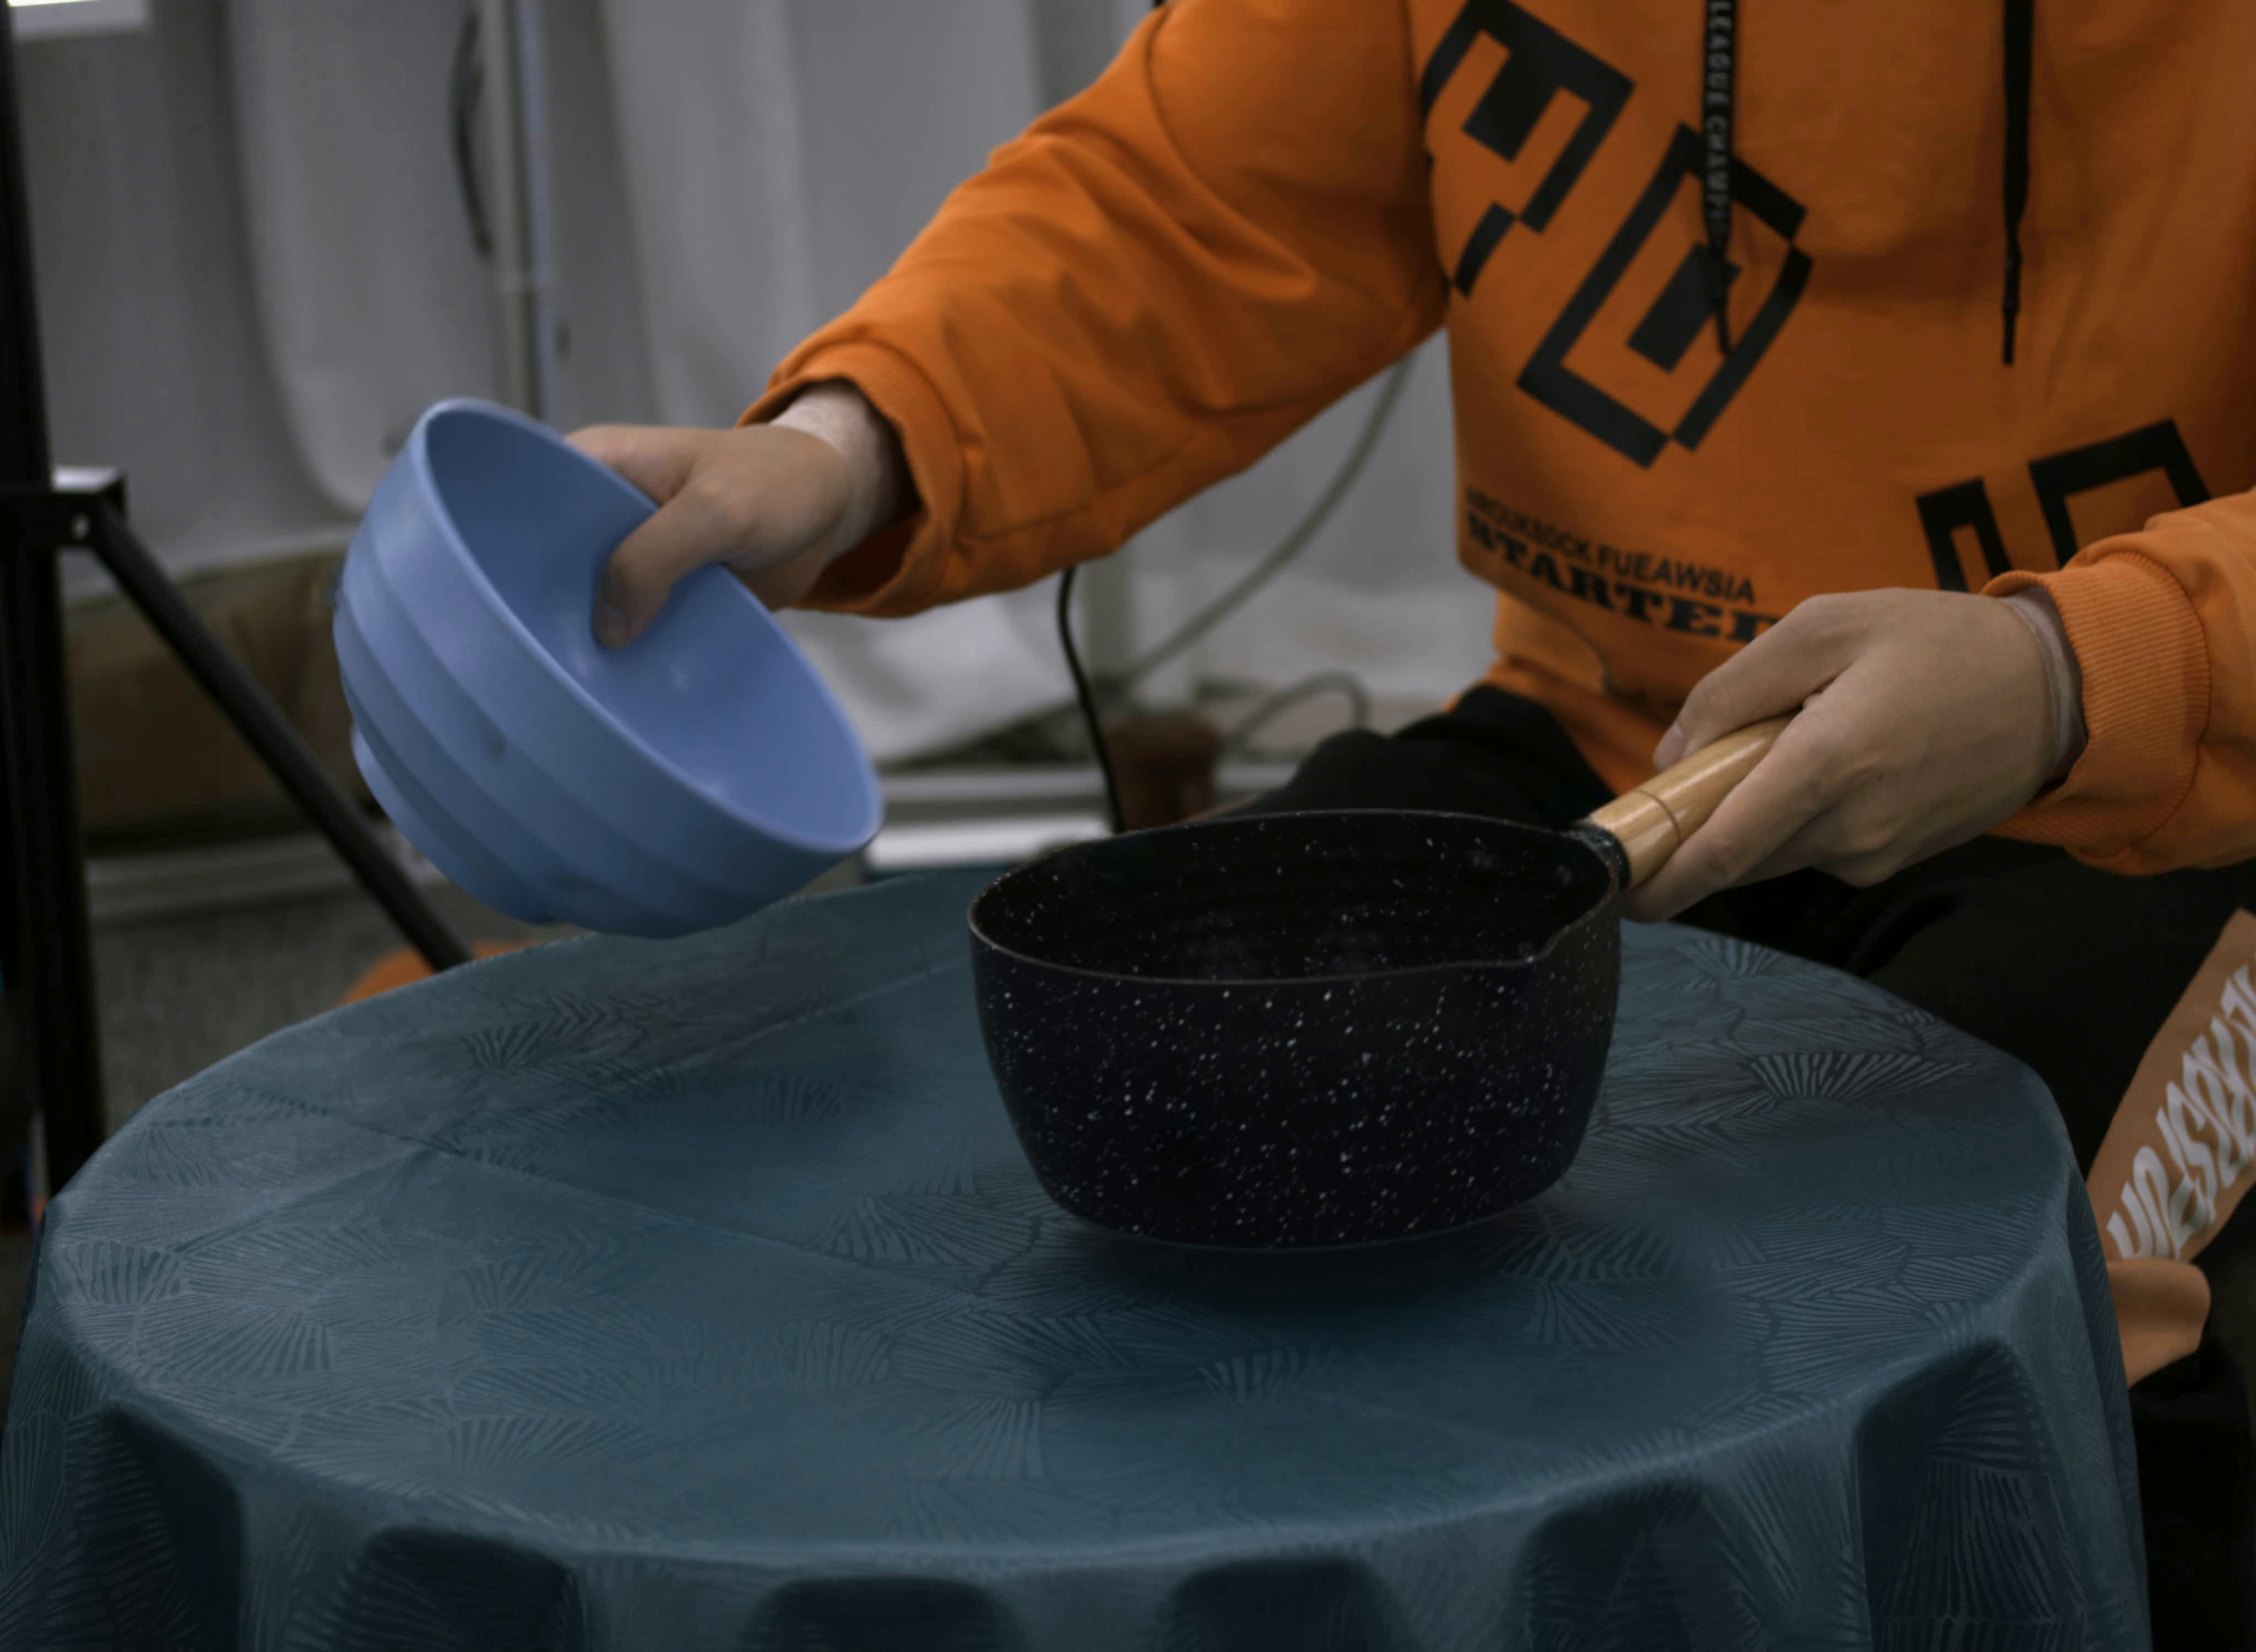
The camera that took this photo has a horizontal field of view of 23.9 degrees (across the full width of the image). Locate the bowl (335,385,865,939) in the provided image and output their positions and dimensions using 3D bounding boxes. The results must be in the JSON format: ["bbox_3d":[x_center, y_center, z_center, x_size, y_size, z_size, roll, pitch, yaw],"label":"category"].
[{"bbox_3d":[-0.184,-0.036,1.705,0.096,0.195,0.196,-41,7,16],"label":"bowl"}]

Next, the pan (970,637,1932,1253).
[{"bbox_3d":[0.110,0.031,1.545,0.335,0.108,0.212,-16,17,-36],"label":"pan"}]
